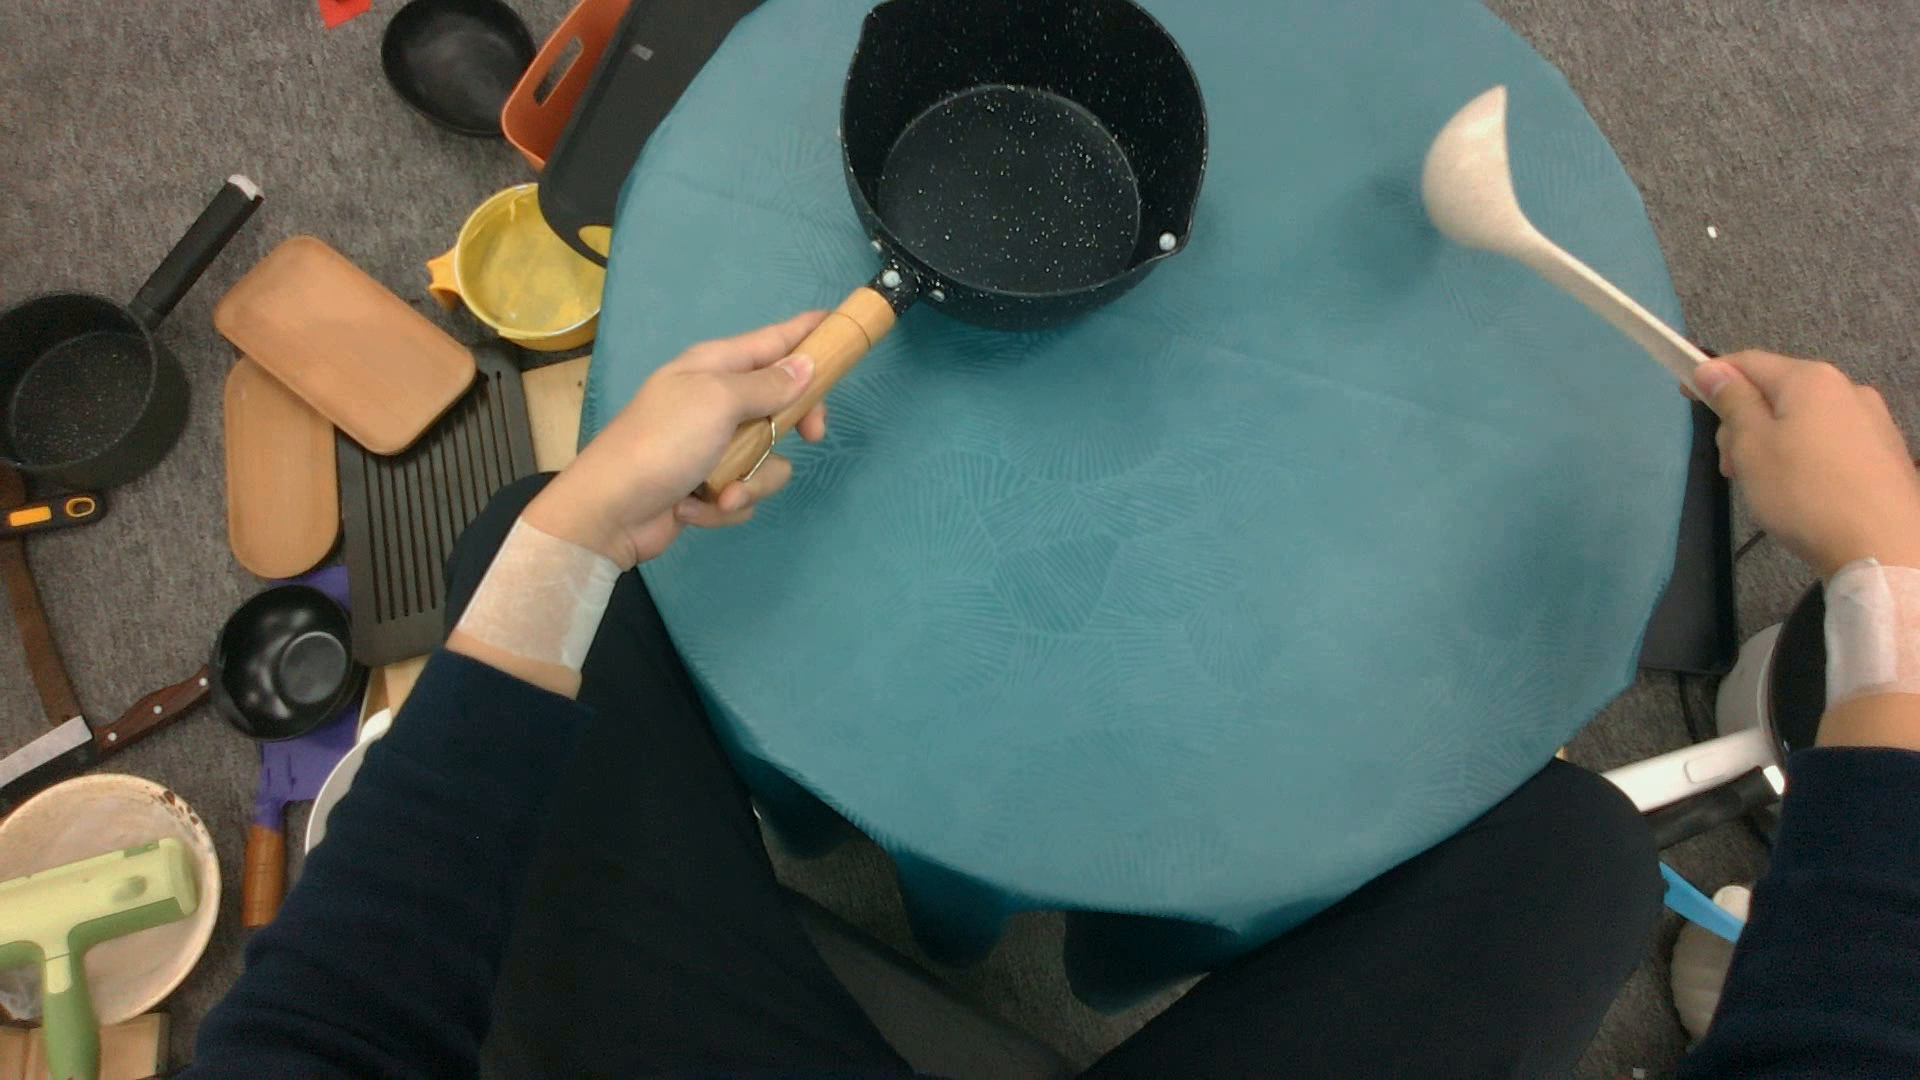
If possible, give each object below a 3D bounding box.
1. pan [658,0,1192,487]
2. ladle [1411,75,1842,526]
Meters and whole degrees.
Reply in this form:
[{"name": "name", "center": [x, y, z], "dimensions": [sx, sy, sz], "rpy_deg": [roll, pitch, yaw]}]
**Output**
[{"name": "pan", "center": [-0.025, -0.144, 0.694], "dimensions": [0.207, 0.108, 0.344], "rpy_deg": [37, 74, 4]}, {"name": "ladle", "center": [0.334, -0.122, 0.677], "dimensions": [0.069, 0.089, 0.275], "rpy_deg": [-34, 68, -19]}]
